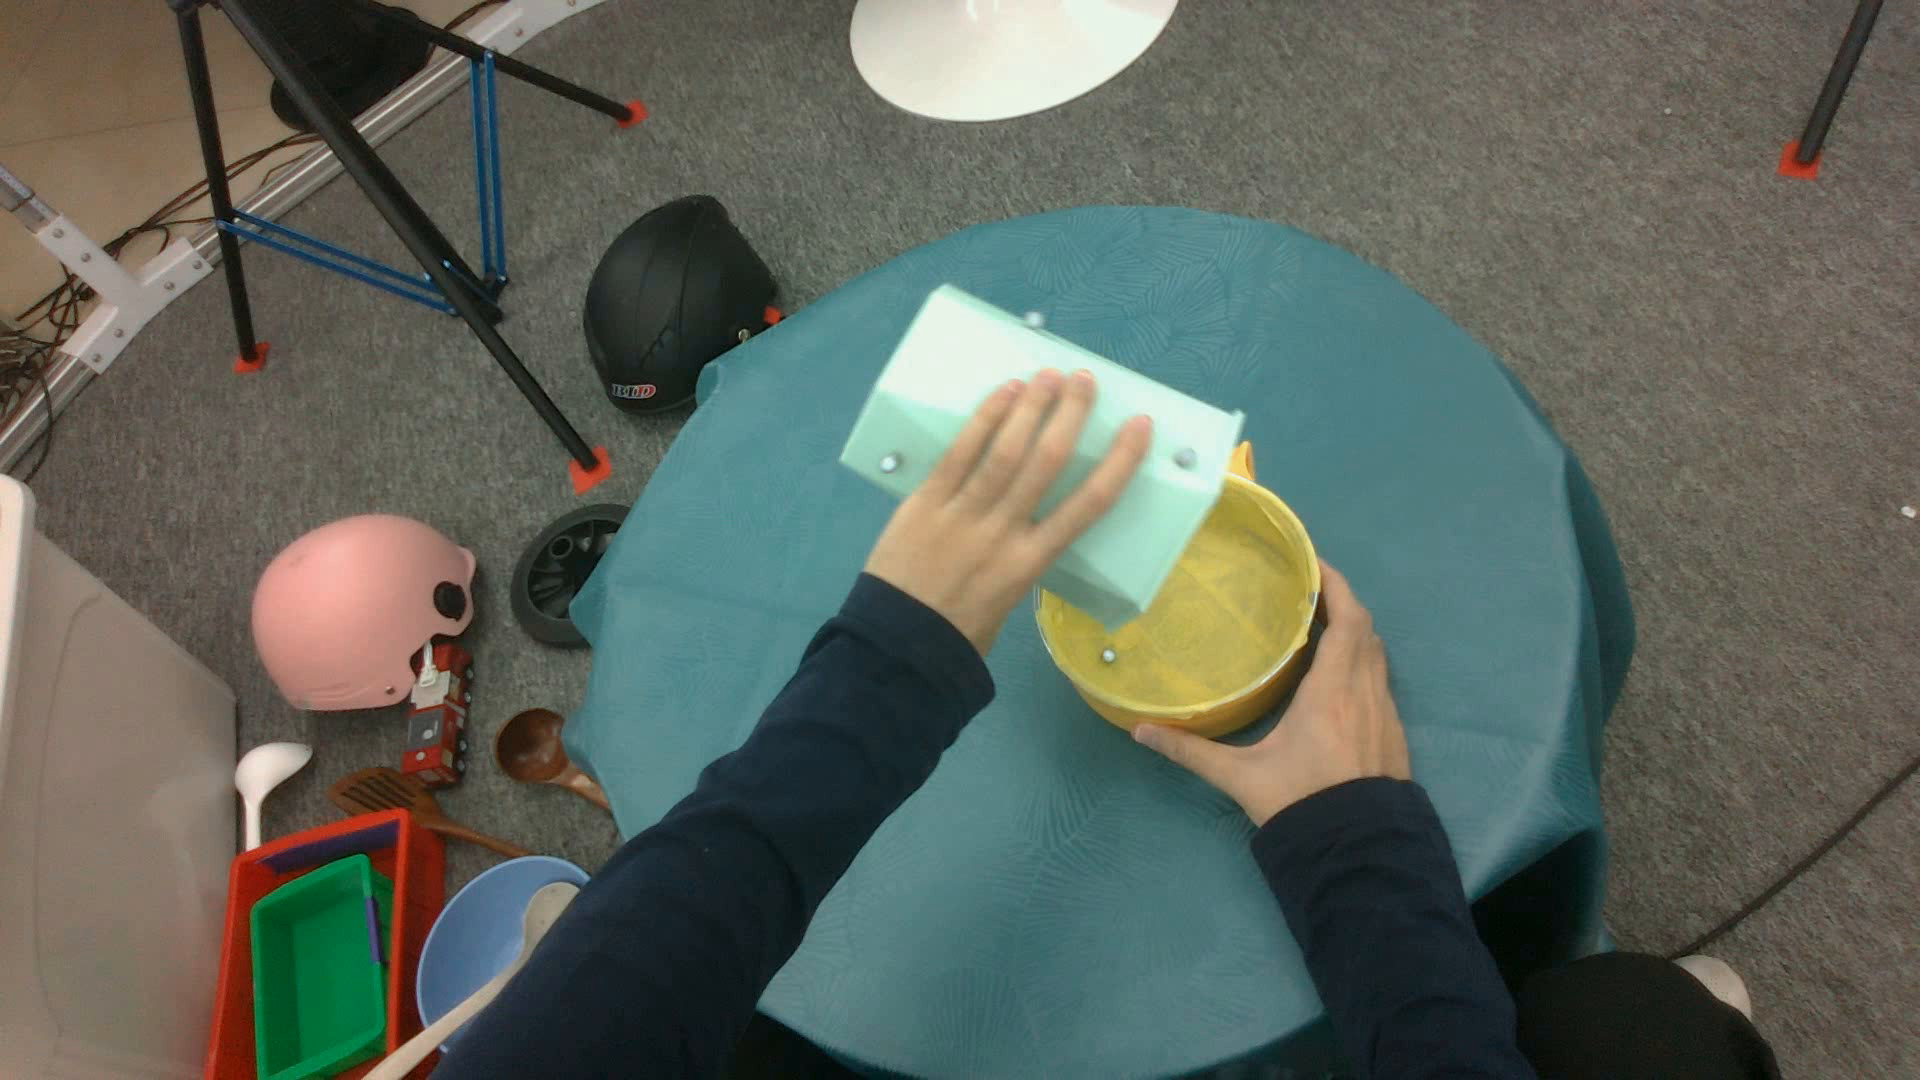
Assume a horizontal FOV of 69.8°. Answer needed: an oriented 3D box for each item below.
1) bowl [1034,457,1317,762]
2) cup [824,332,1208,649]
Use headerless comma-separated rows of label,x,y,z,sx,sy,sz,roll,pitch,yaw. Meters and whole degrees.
bowl,0.128,0.040,0.784,0.153,0.074,0.180,8,63,21
cup,0.026,-0.035,0.696,0.163,0.130,0.115,23,74,8
